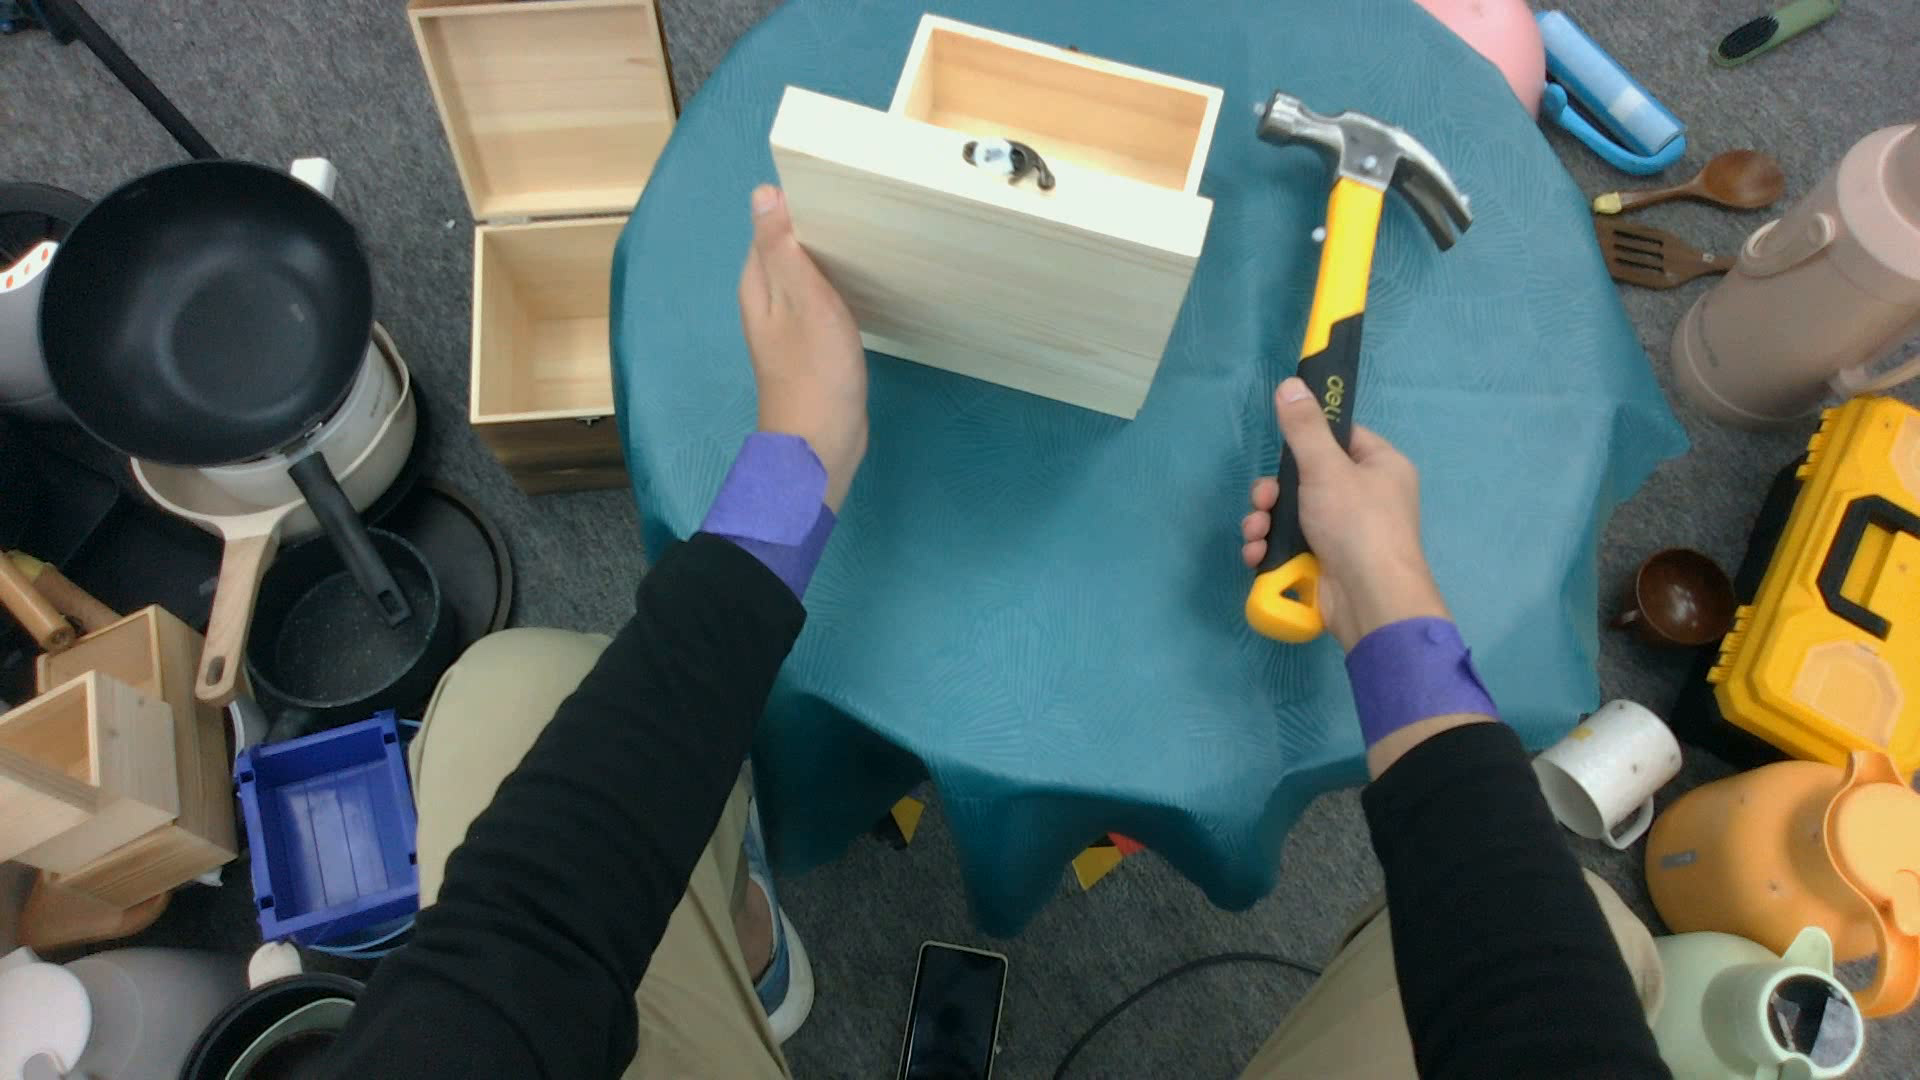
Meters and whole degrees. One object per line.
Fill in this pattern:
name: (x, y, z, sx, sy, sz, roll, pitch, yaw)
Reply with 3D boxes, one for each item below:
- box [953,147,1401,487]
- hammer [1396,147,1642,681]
box: (0.119, -0.137, 0.718, 0.181, 0.252, 0.266, 3, 66, 11)
hammer: (0.307, -0.082, 0.744, 0.131, 0.032, 0.340, 7, 60, 5)
